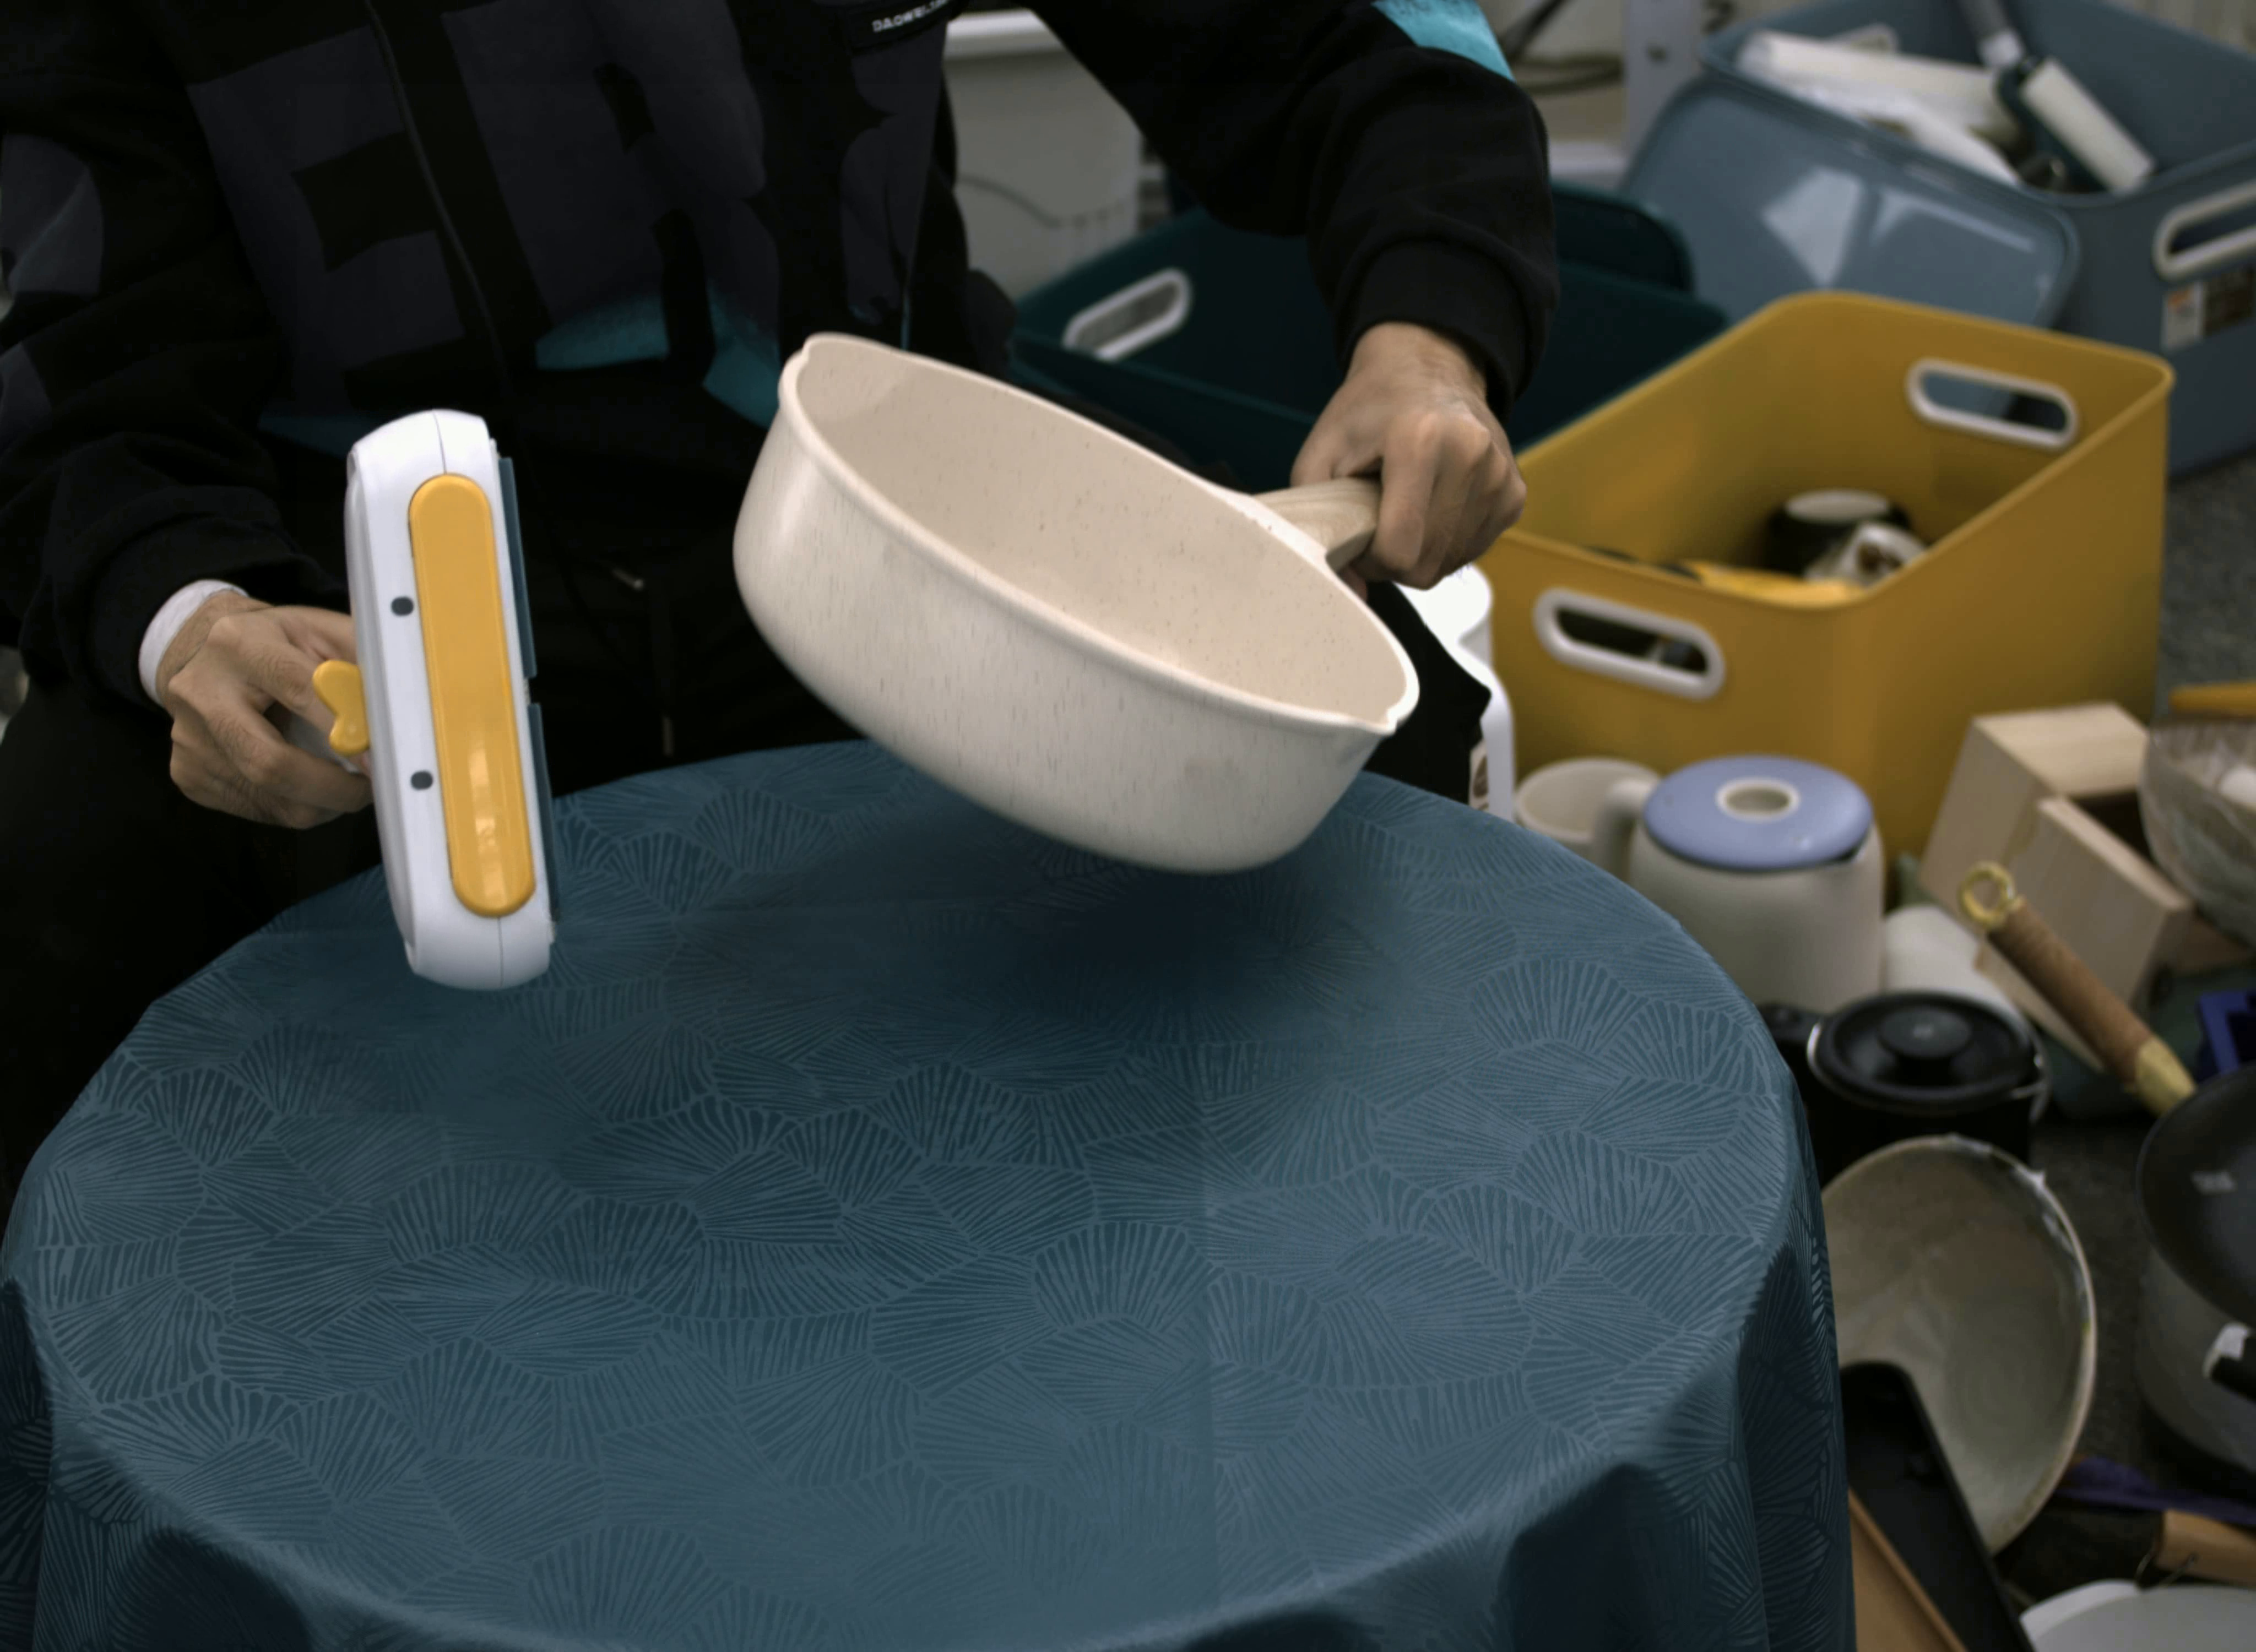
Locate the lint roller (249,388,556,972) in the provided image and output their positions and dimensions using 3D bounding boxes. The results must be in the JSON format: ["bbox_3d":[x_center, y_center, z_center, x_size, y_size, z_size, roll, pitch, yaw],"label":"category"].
[{"bbox_3d":[-0.252,-0.039,1.910,0.074,0.194,0.190,-10,-4,-21],"label":"lint roller"}]

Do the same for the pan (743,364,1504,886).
[{"bbox_3d":[0.024,-0.078,2.060,0.263,0.101,0.438,33,18,22],"label":"pan"}]
